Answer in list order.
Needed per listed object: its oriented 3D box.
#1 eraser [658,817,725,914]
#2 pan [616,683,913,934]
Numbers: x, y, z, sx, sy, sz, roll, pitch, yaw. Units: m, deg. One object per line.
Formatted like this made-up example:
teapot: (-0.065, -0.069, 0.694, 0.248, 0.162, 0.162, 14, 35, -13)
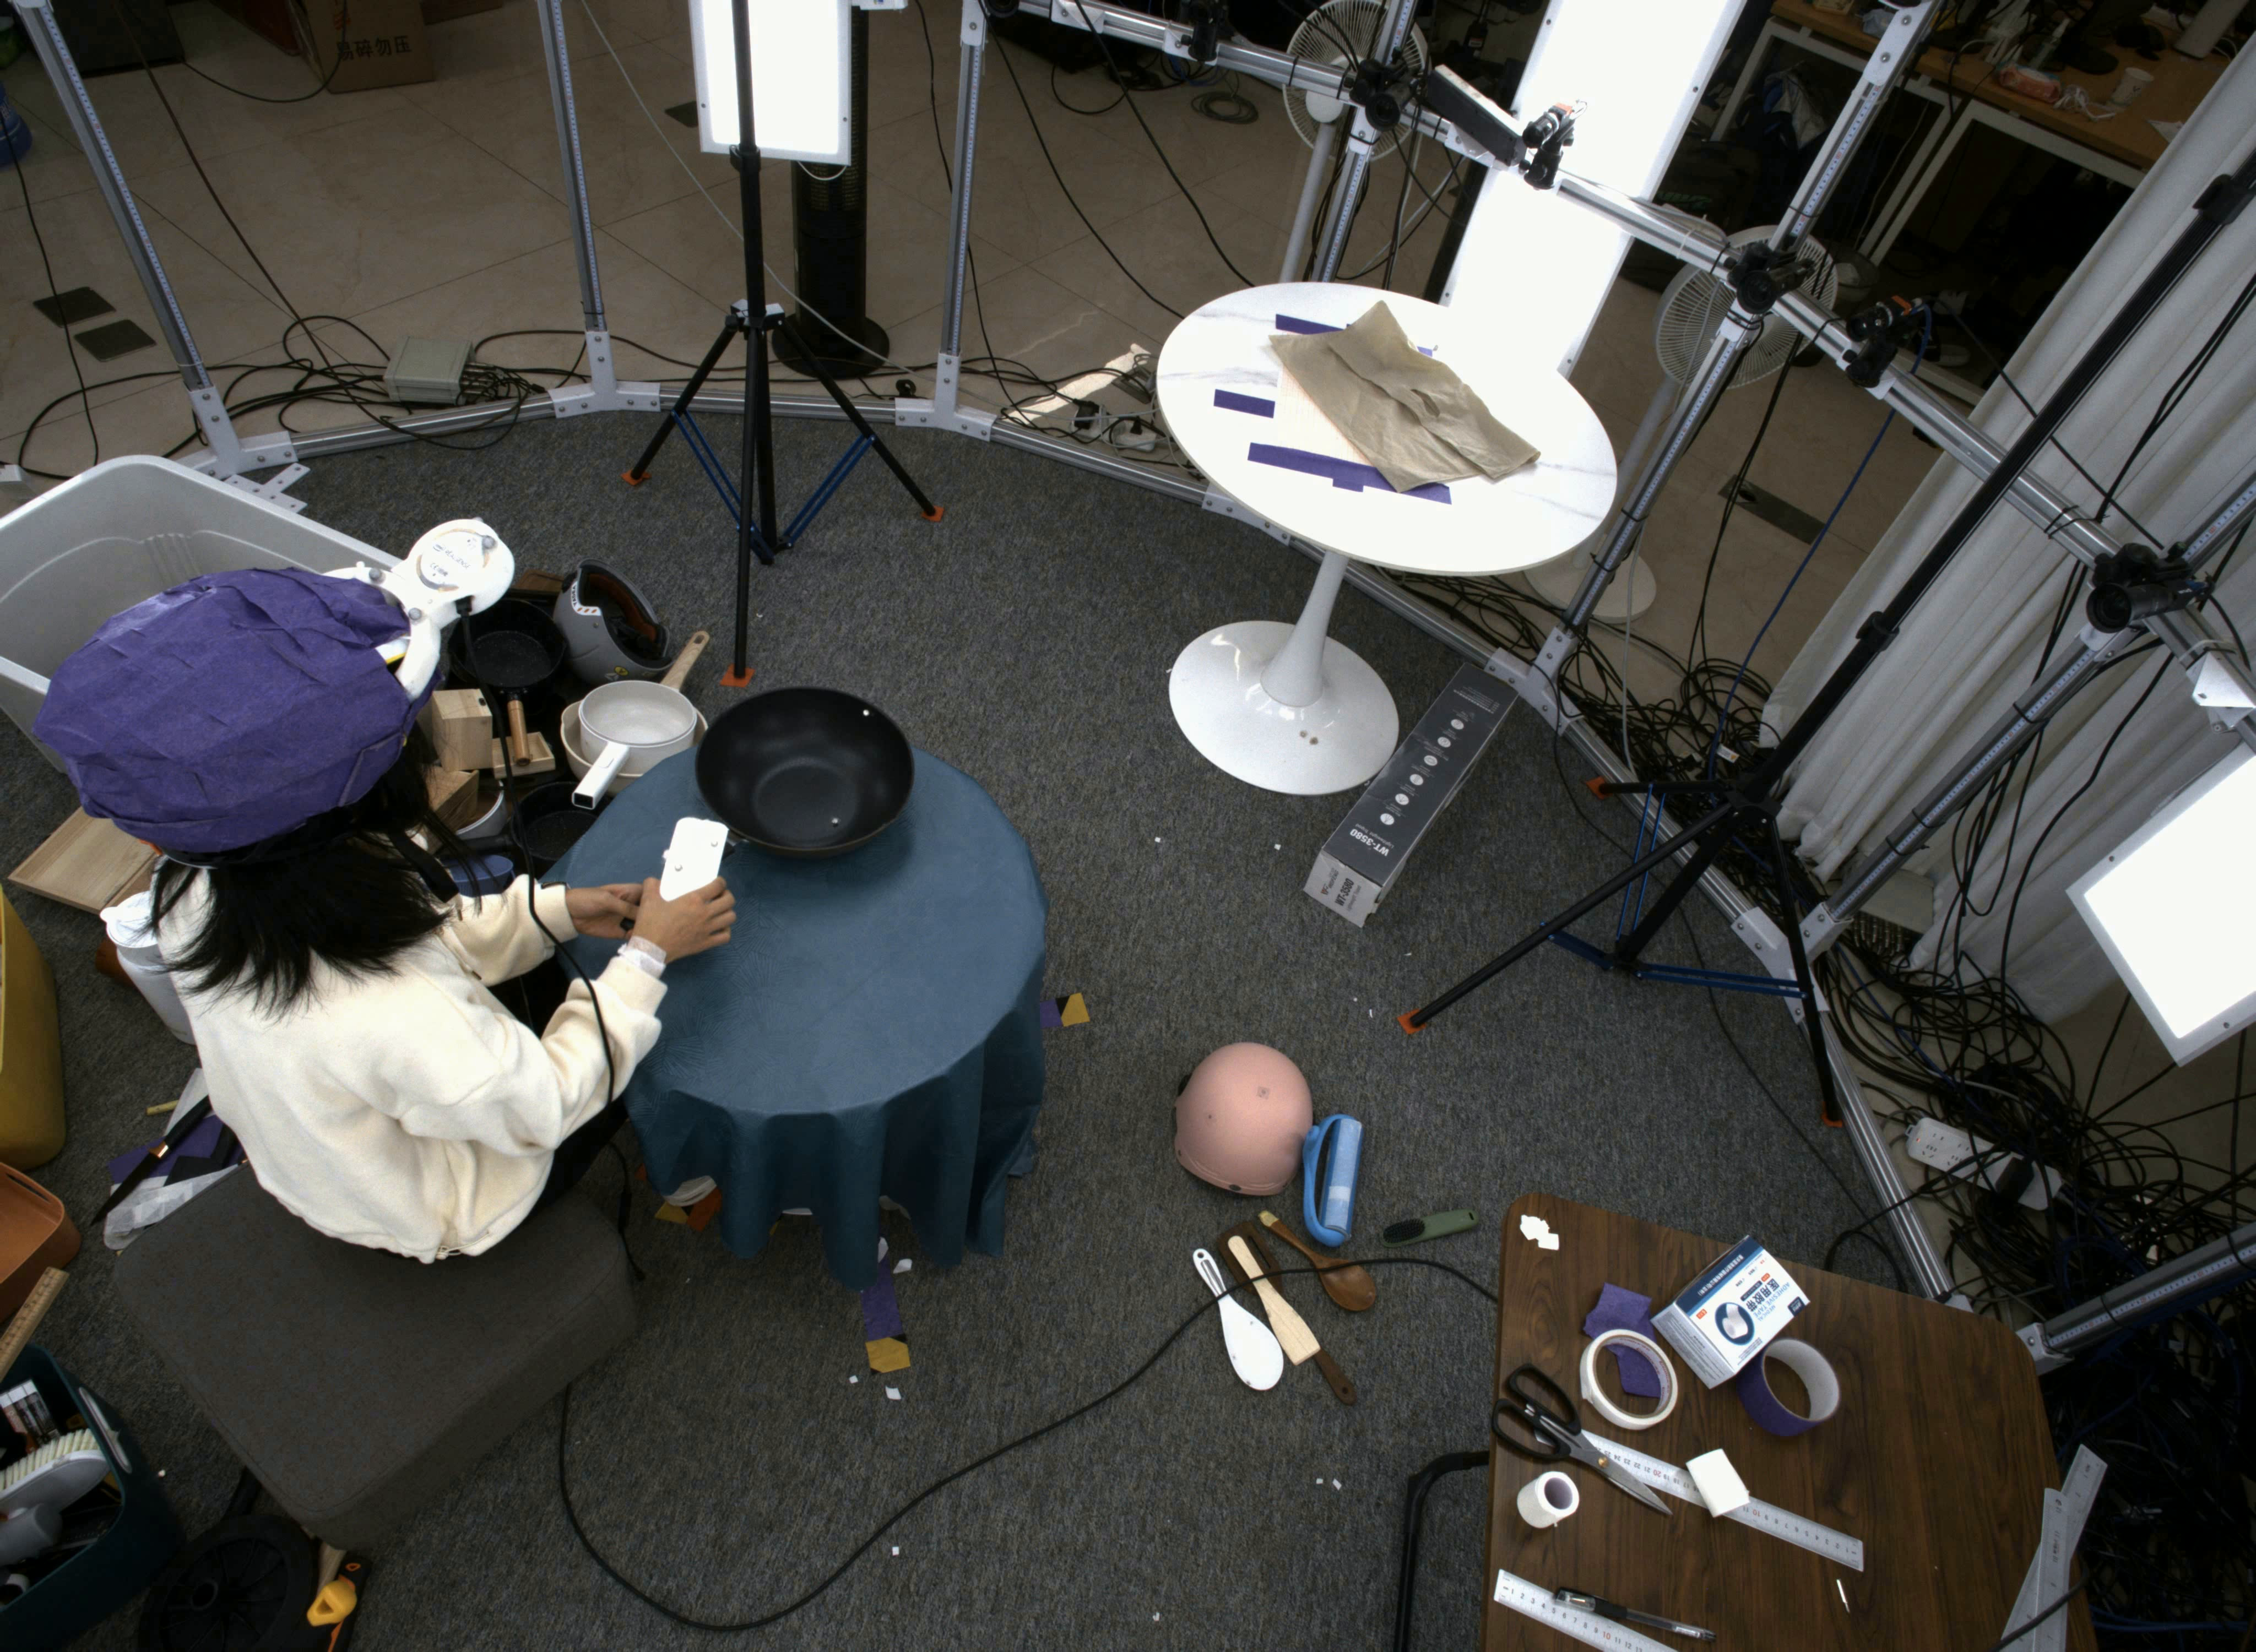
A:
eraser: (-0.518, 0.042, 1.528, 0.063, 0.035, 0.128, 9, 48, -12)
pan: (-0.472, -0.001, 1.653, 0.283, 0.088, 0.462, 31, 53, 10)
